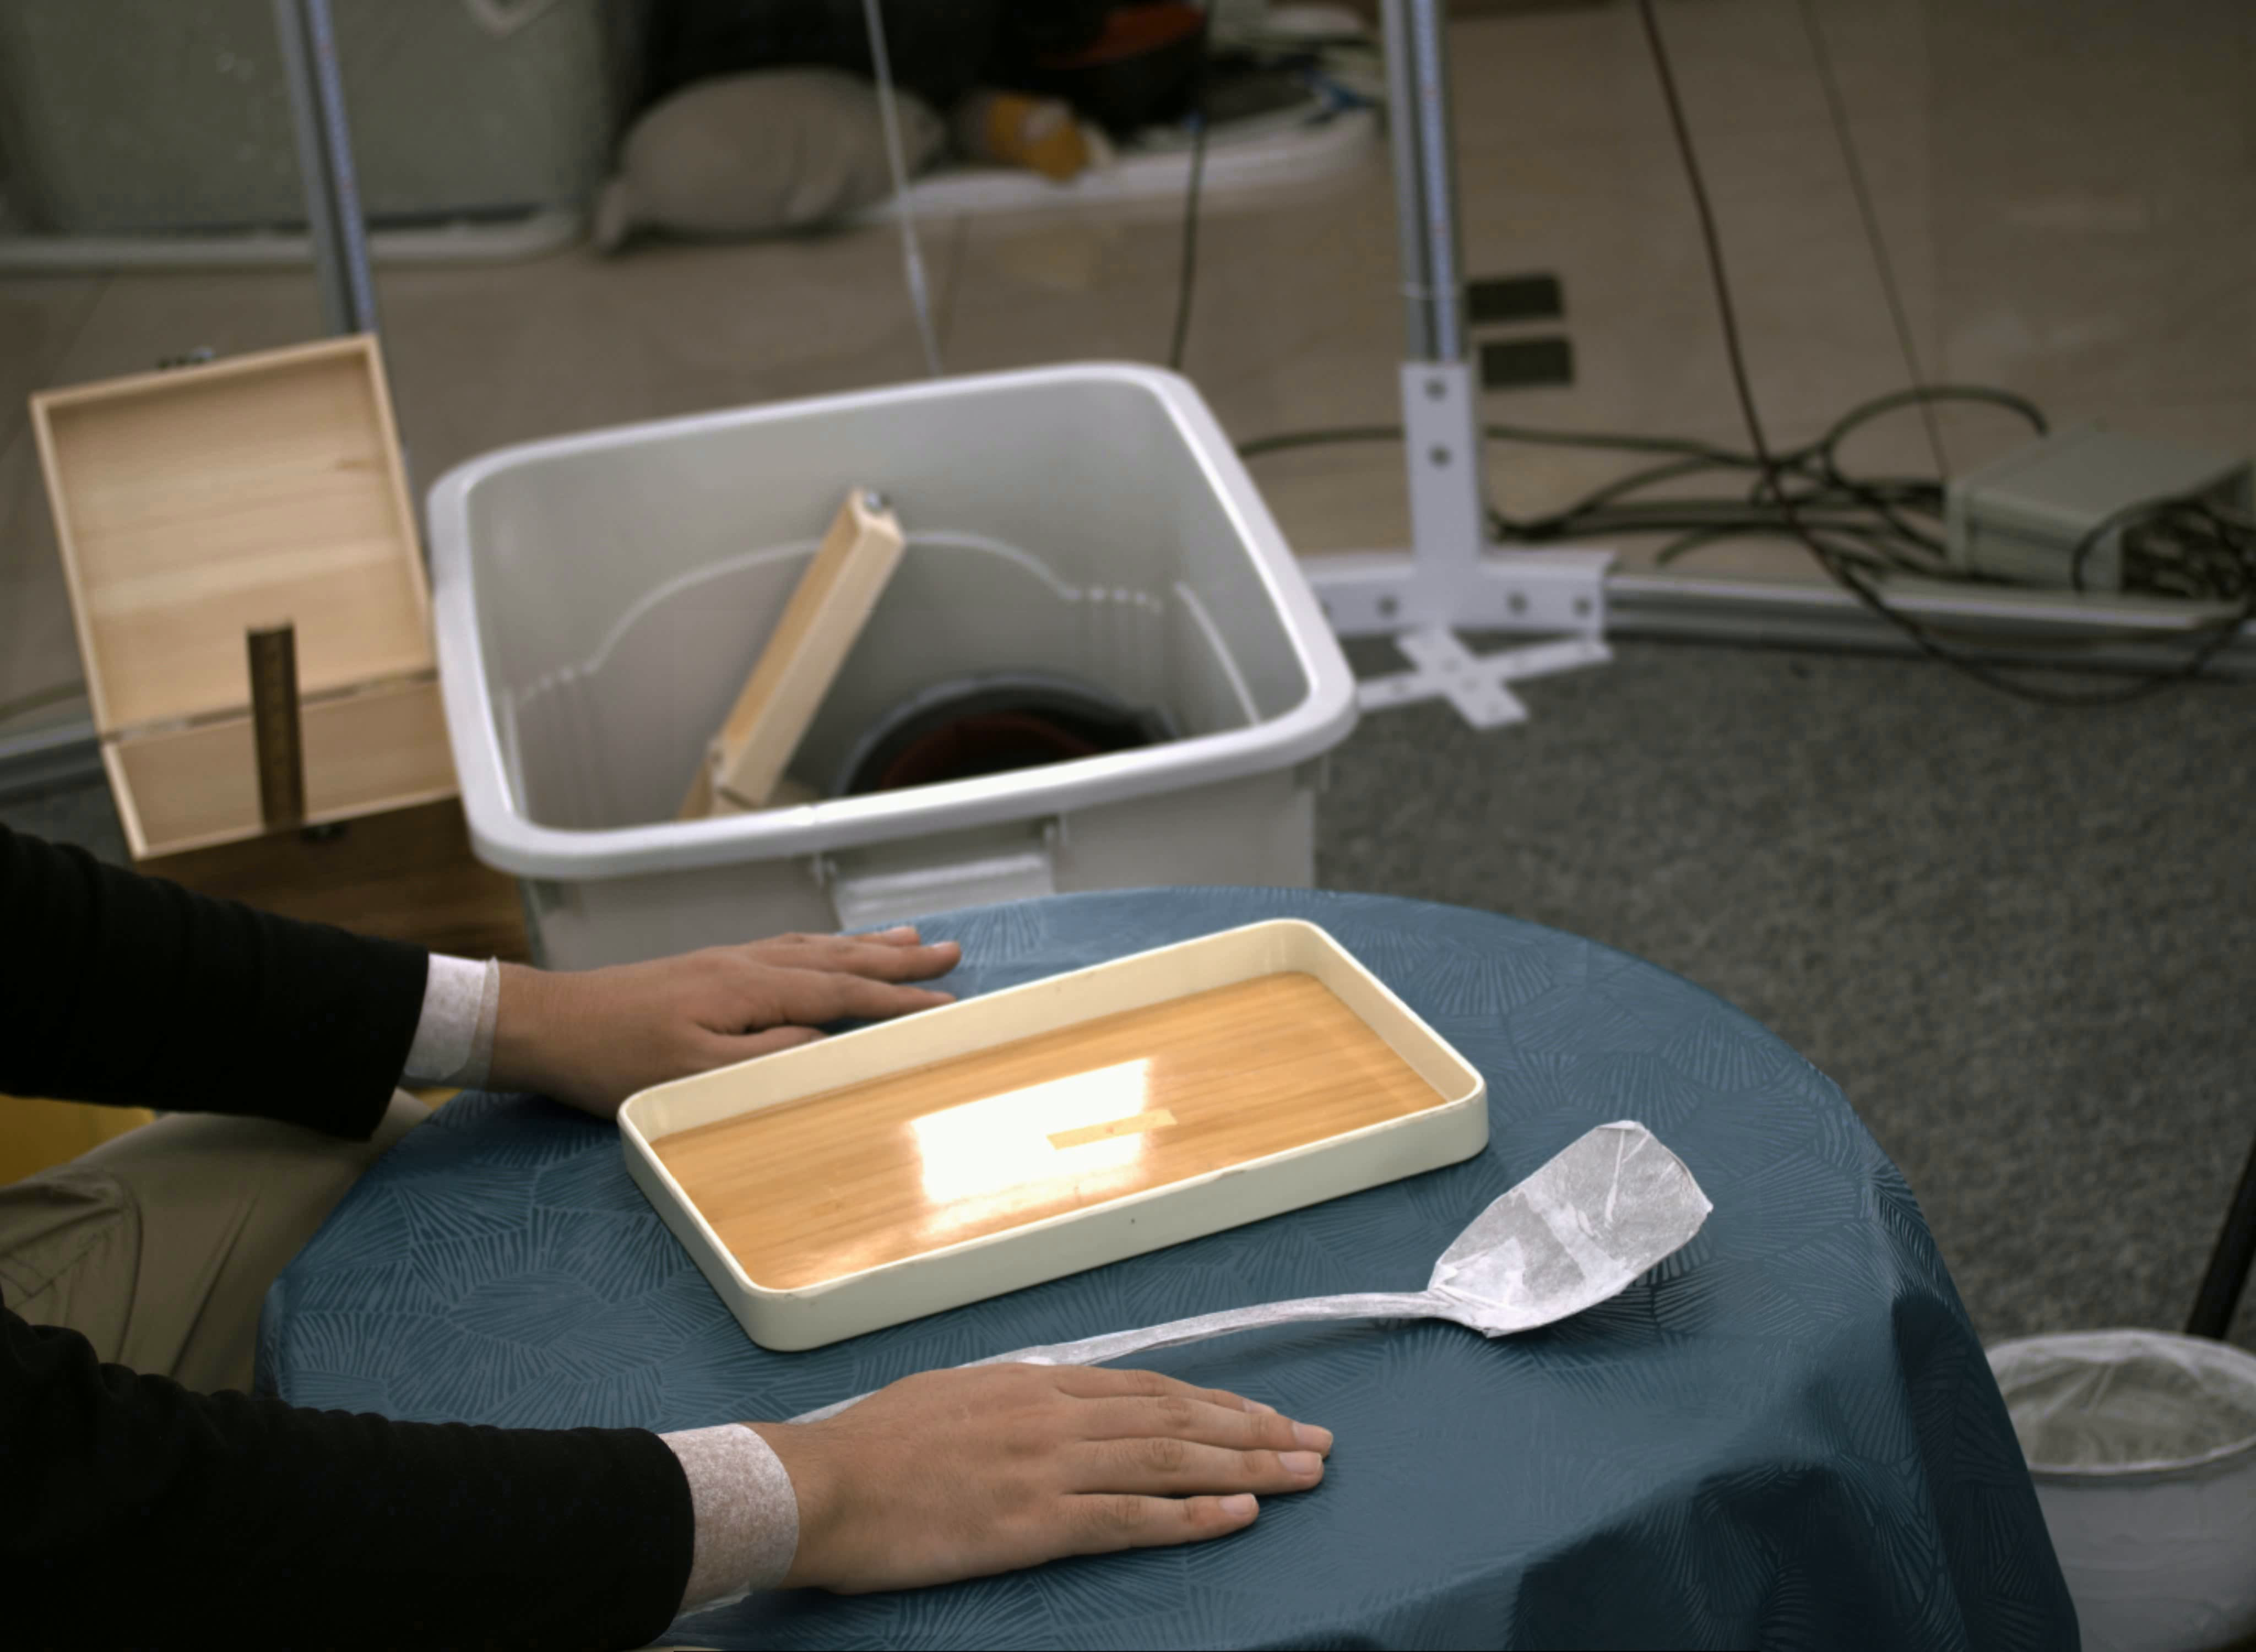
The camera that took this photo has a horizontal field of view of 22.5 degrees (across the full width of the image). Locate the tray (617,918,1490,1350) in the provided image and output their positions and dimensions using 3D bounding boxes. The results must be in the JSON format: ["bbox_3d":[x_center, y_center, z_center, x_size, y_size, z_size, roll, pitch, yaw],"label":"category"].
[{"bbox_3d":[-0.030,0.115,2.176,0.299,0.028,0.189,-15,26,-17],"label":"tray"}]

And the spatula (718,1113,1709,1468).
[{"bbox_3d":[0.030,0.173,2.020,0.364,0.045,0.097,-11,26,-11],"label":"spatula"}]
